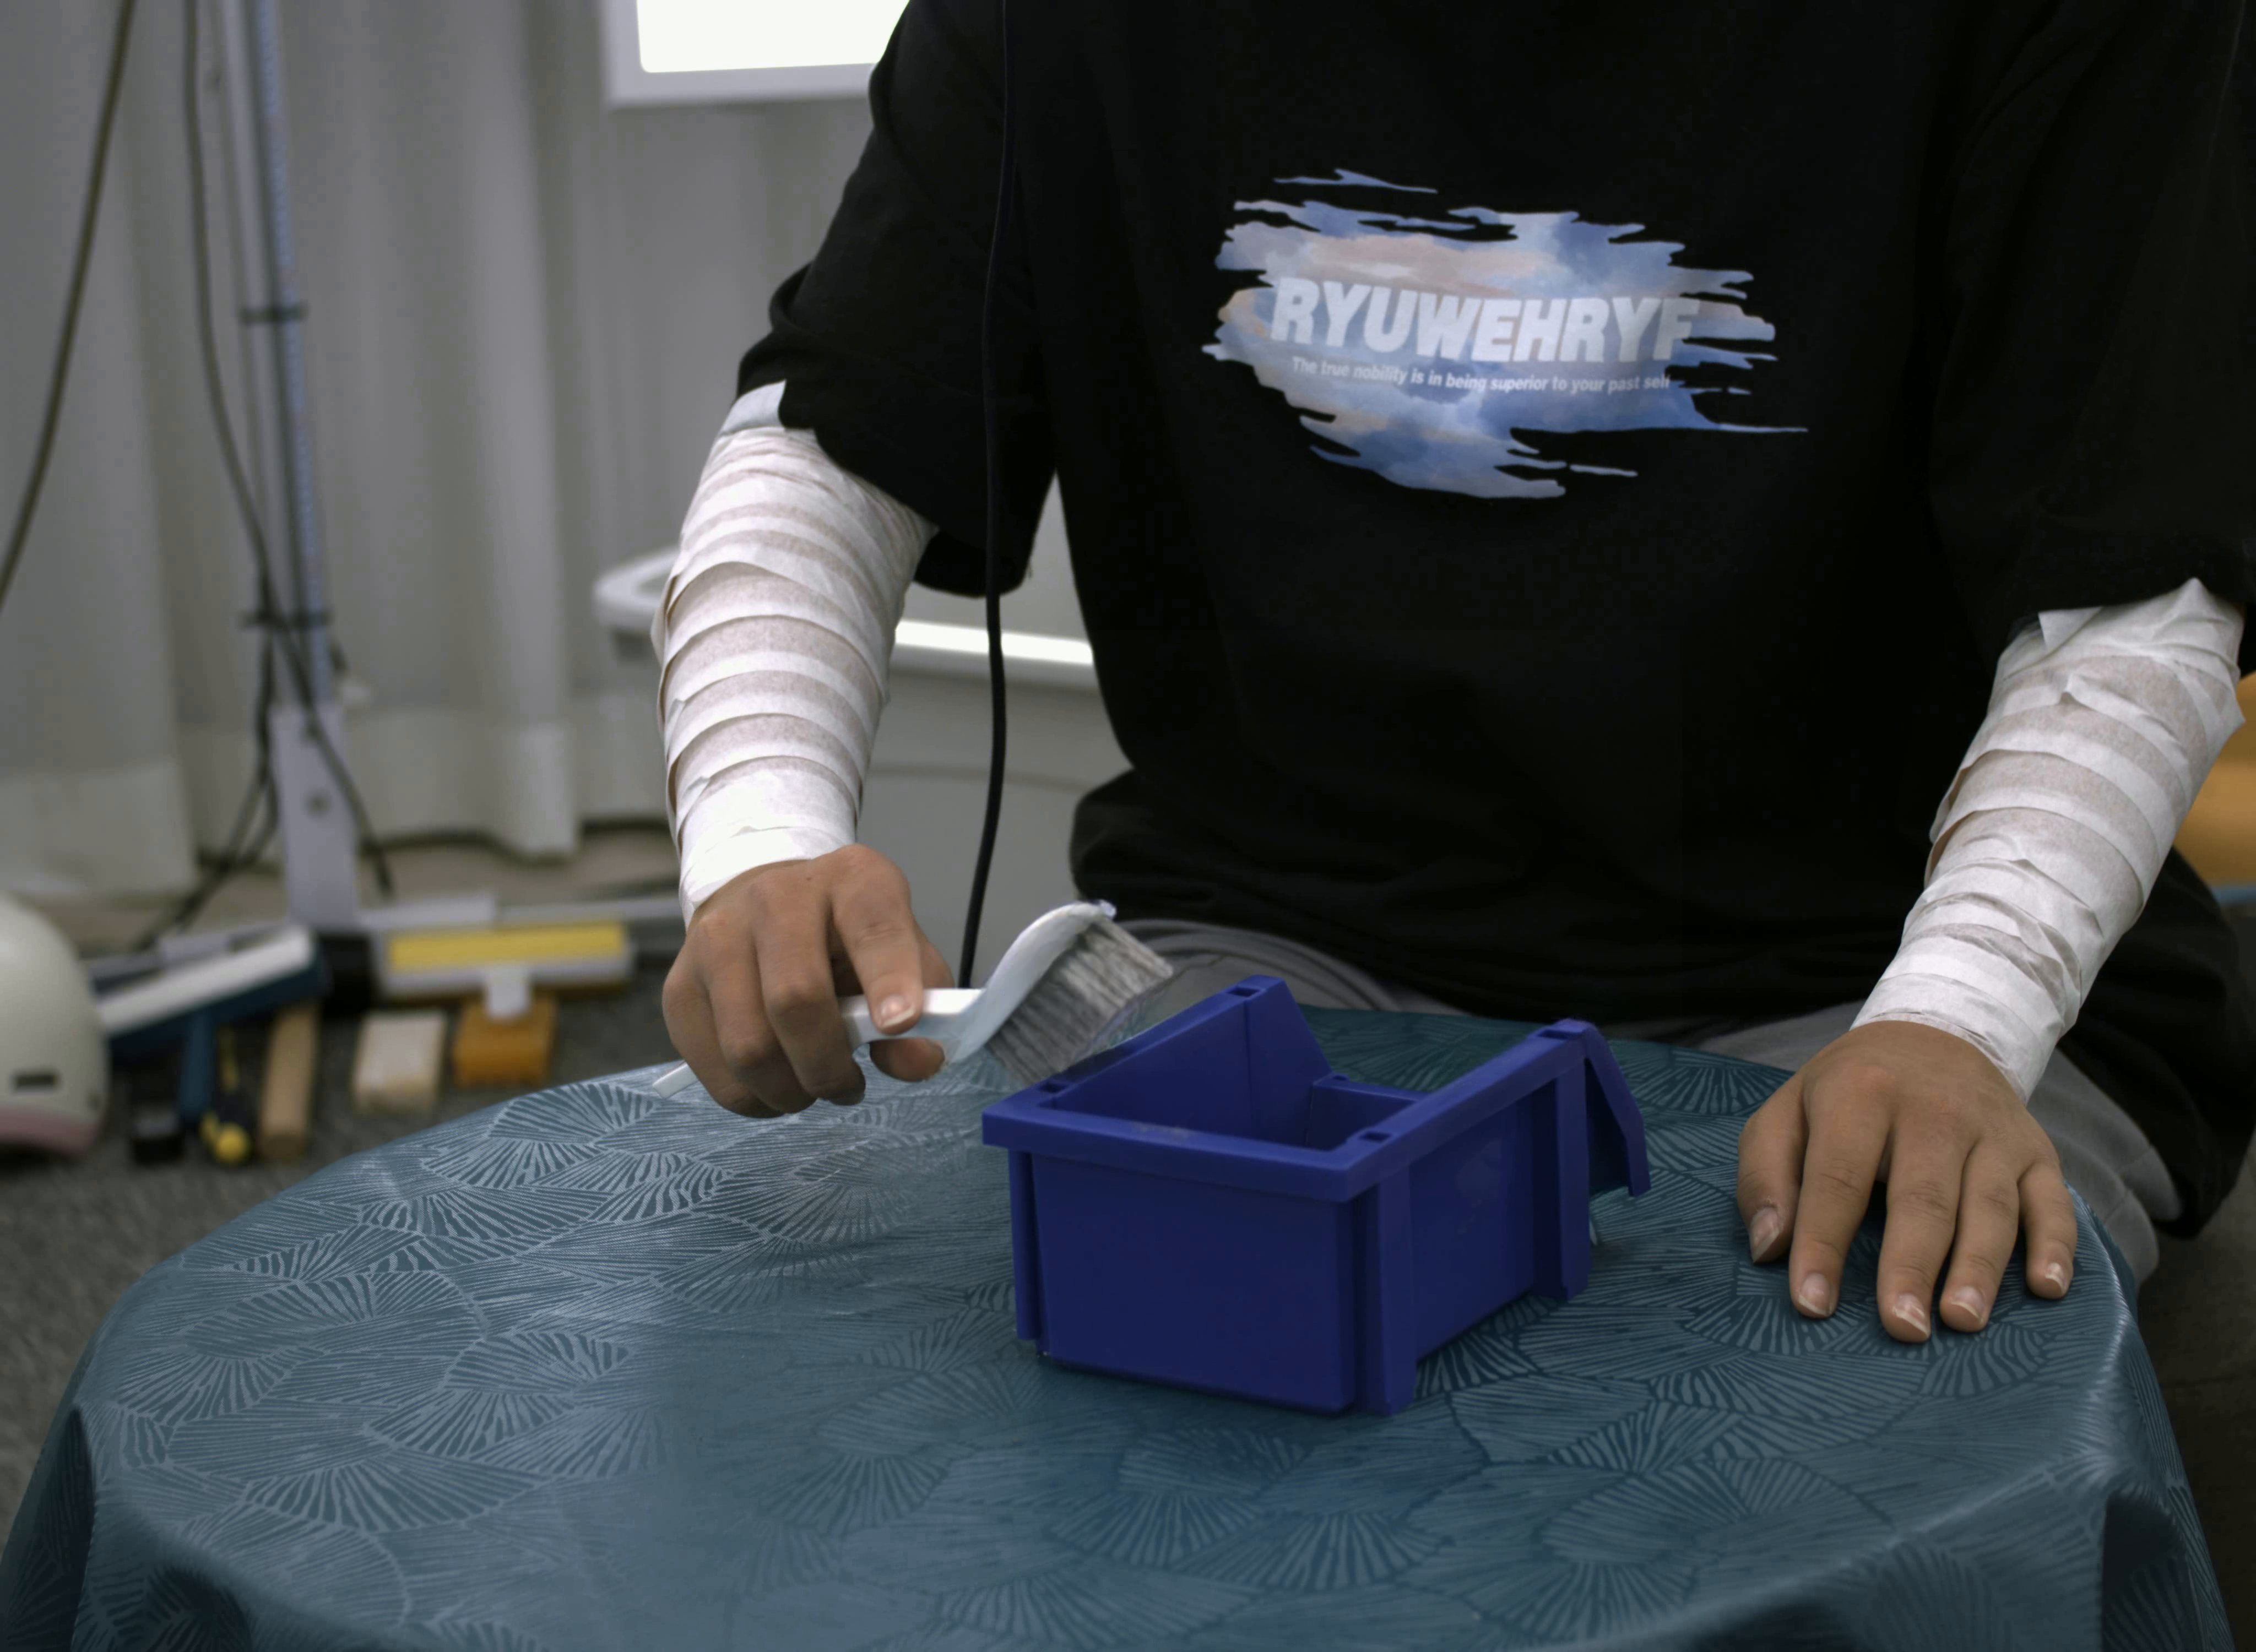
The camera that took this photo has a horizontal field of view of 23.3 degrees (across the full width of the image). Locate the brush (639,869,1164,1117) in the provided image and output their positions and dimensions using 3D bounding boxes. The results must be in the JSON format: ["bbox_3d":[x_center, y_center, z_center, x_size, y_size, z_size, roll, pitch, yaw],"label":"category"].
[{"bbox_3d":[-0.070,0.068,1.645,0.034,0.050,0.243,-40,8,-39],"label":"brush"}]

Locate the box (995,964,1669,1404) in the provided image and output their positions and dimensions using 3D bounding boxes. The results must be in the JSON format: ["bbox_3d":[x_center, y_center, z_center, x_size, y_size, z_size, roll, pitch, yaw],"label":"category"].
[{"bbox_3d":[0.061,0.100,1.598,0.125,0.081,0.179,7,18,34],"label":"box"}]
